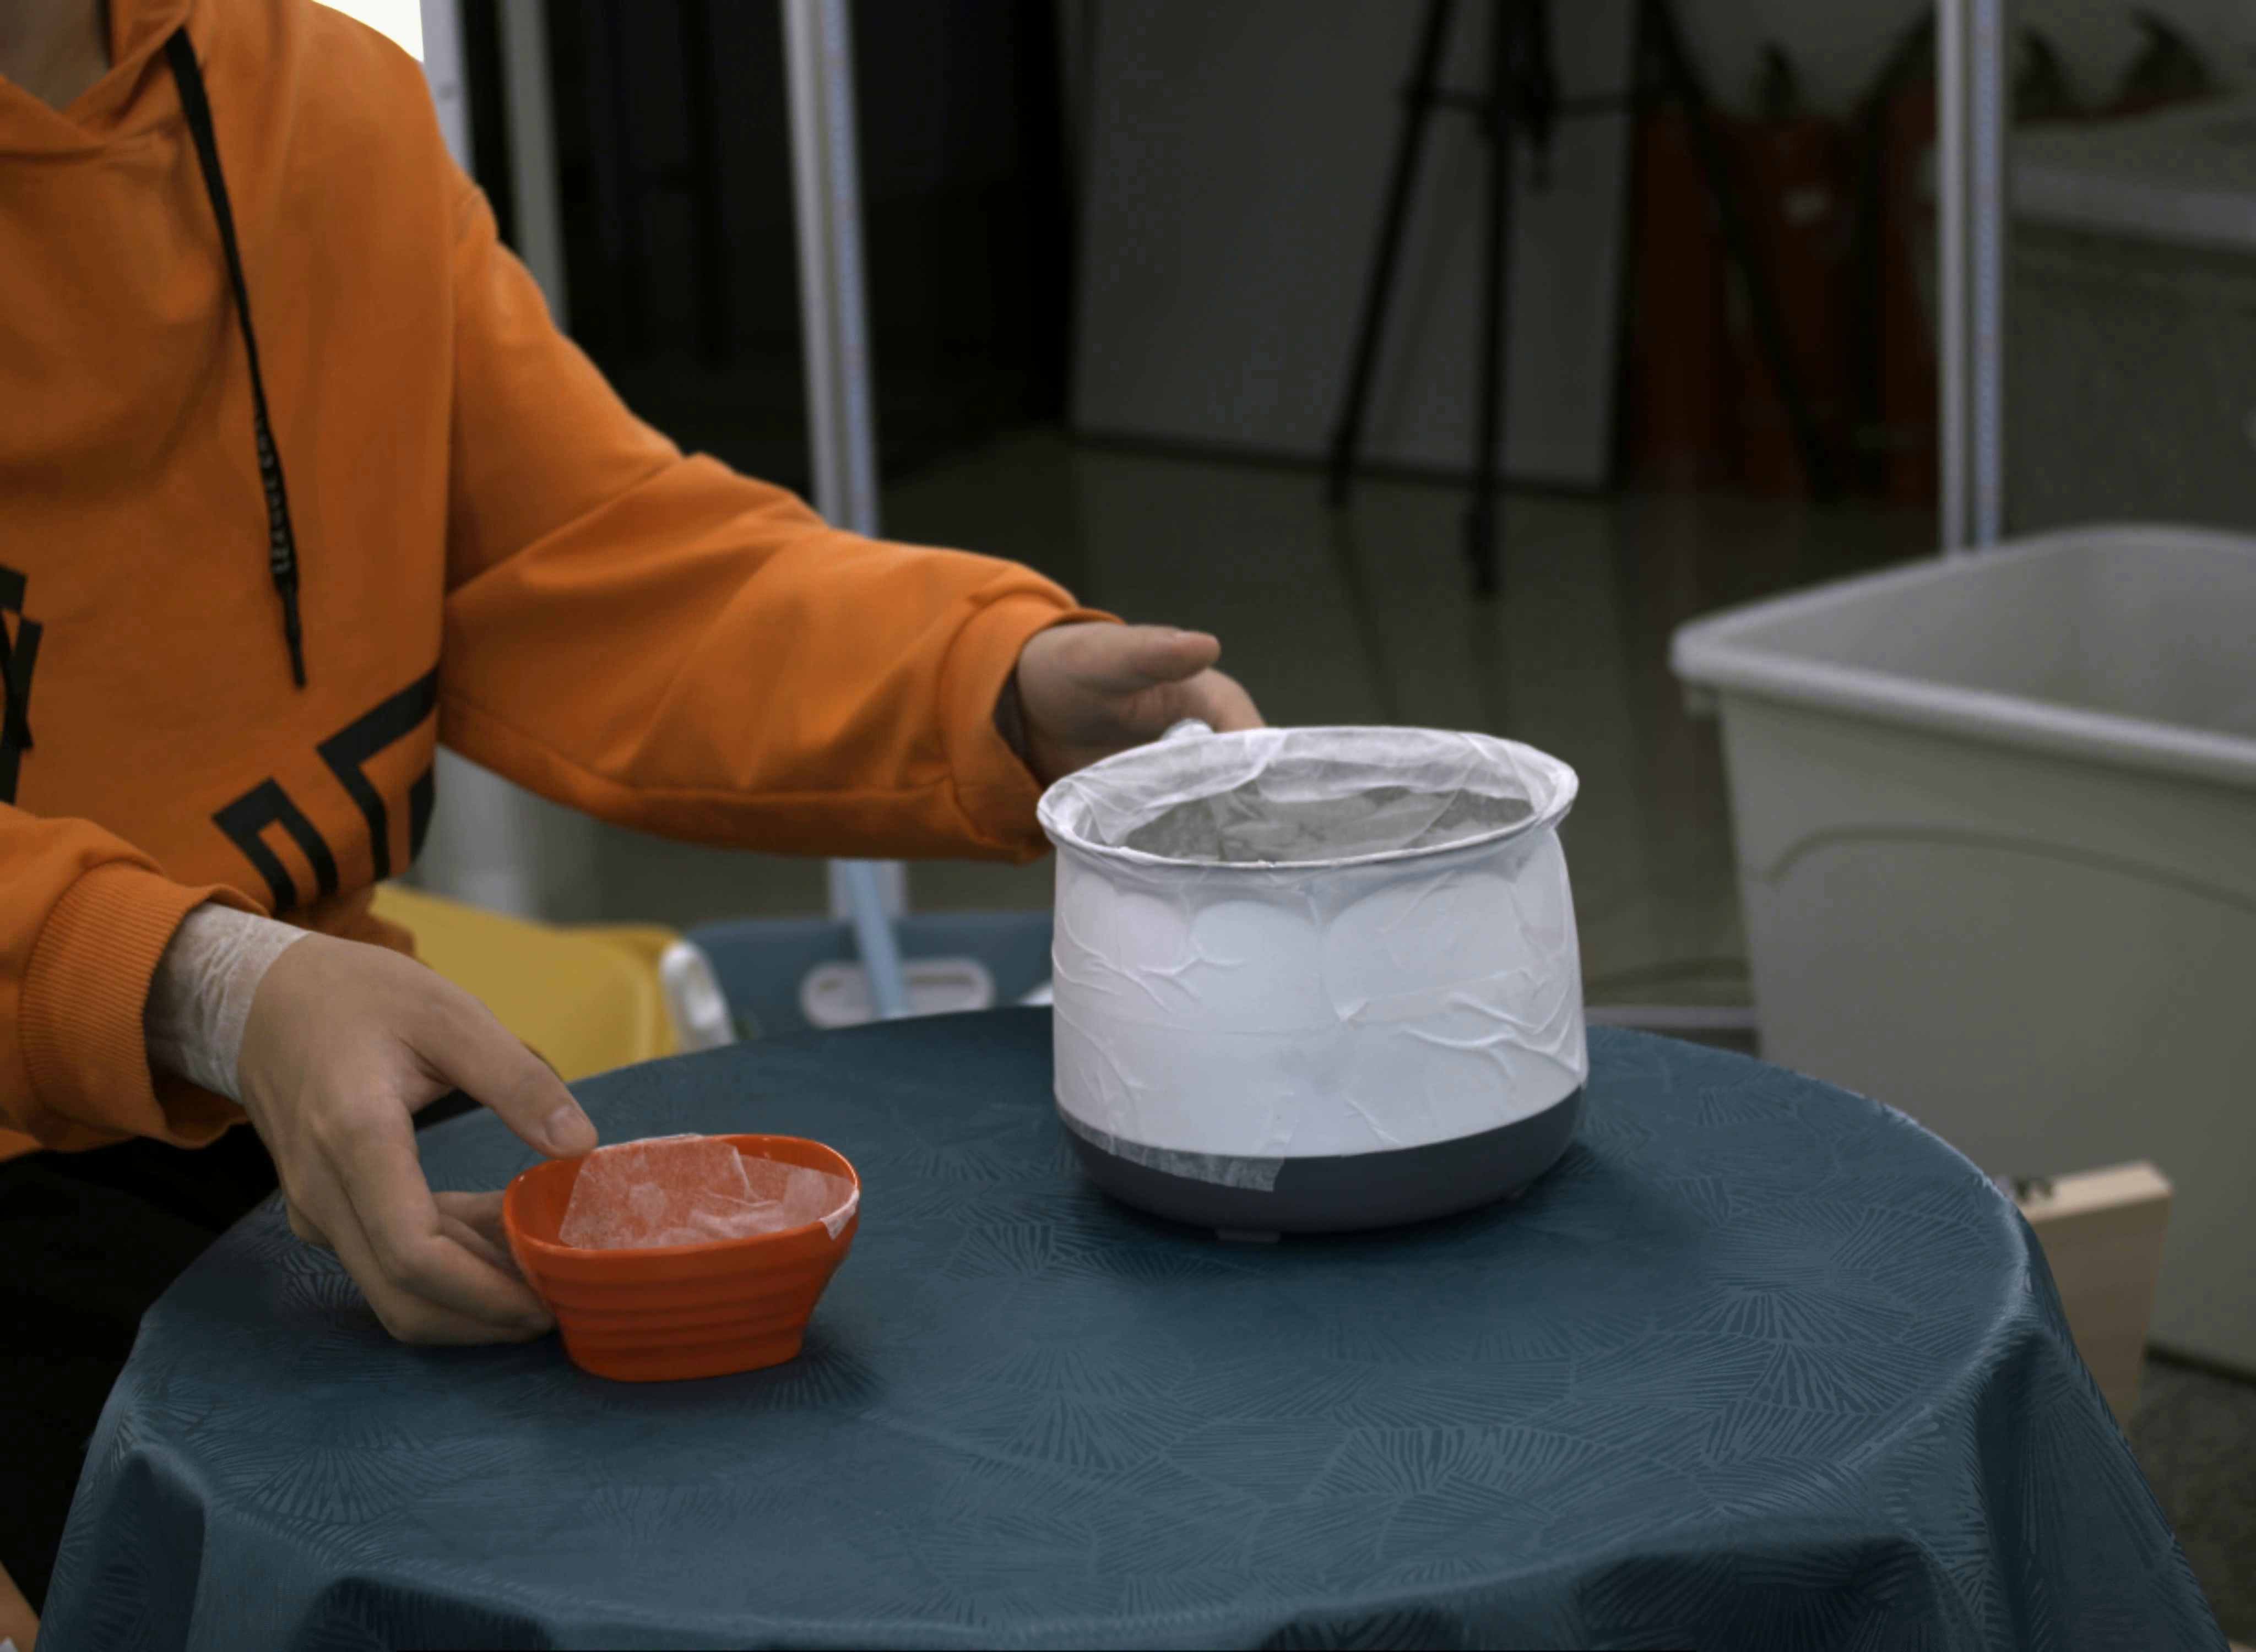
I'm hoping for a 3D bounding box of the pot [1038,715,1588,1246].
[{"bbox_3d":[0.050,0.044,1.781,0.175,0.138,0.236,-9,15,-21],"label":"pot"}]

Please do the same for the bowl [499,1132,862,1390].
[{"bbox_3d":[-0.134,0.135,1.648,0.117,0.052,0.119,-5,15,0],"label":"bowl"}]
